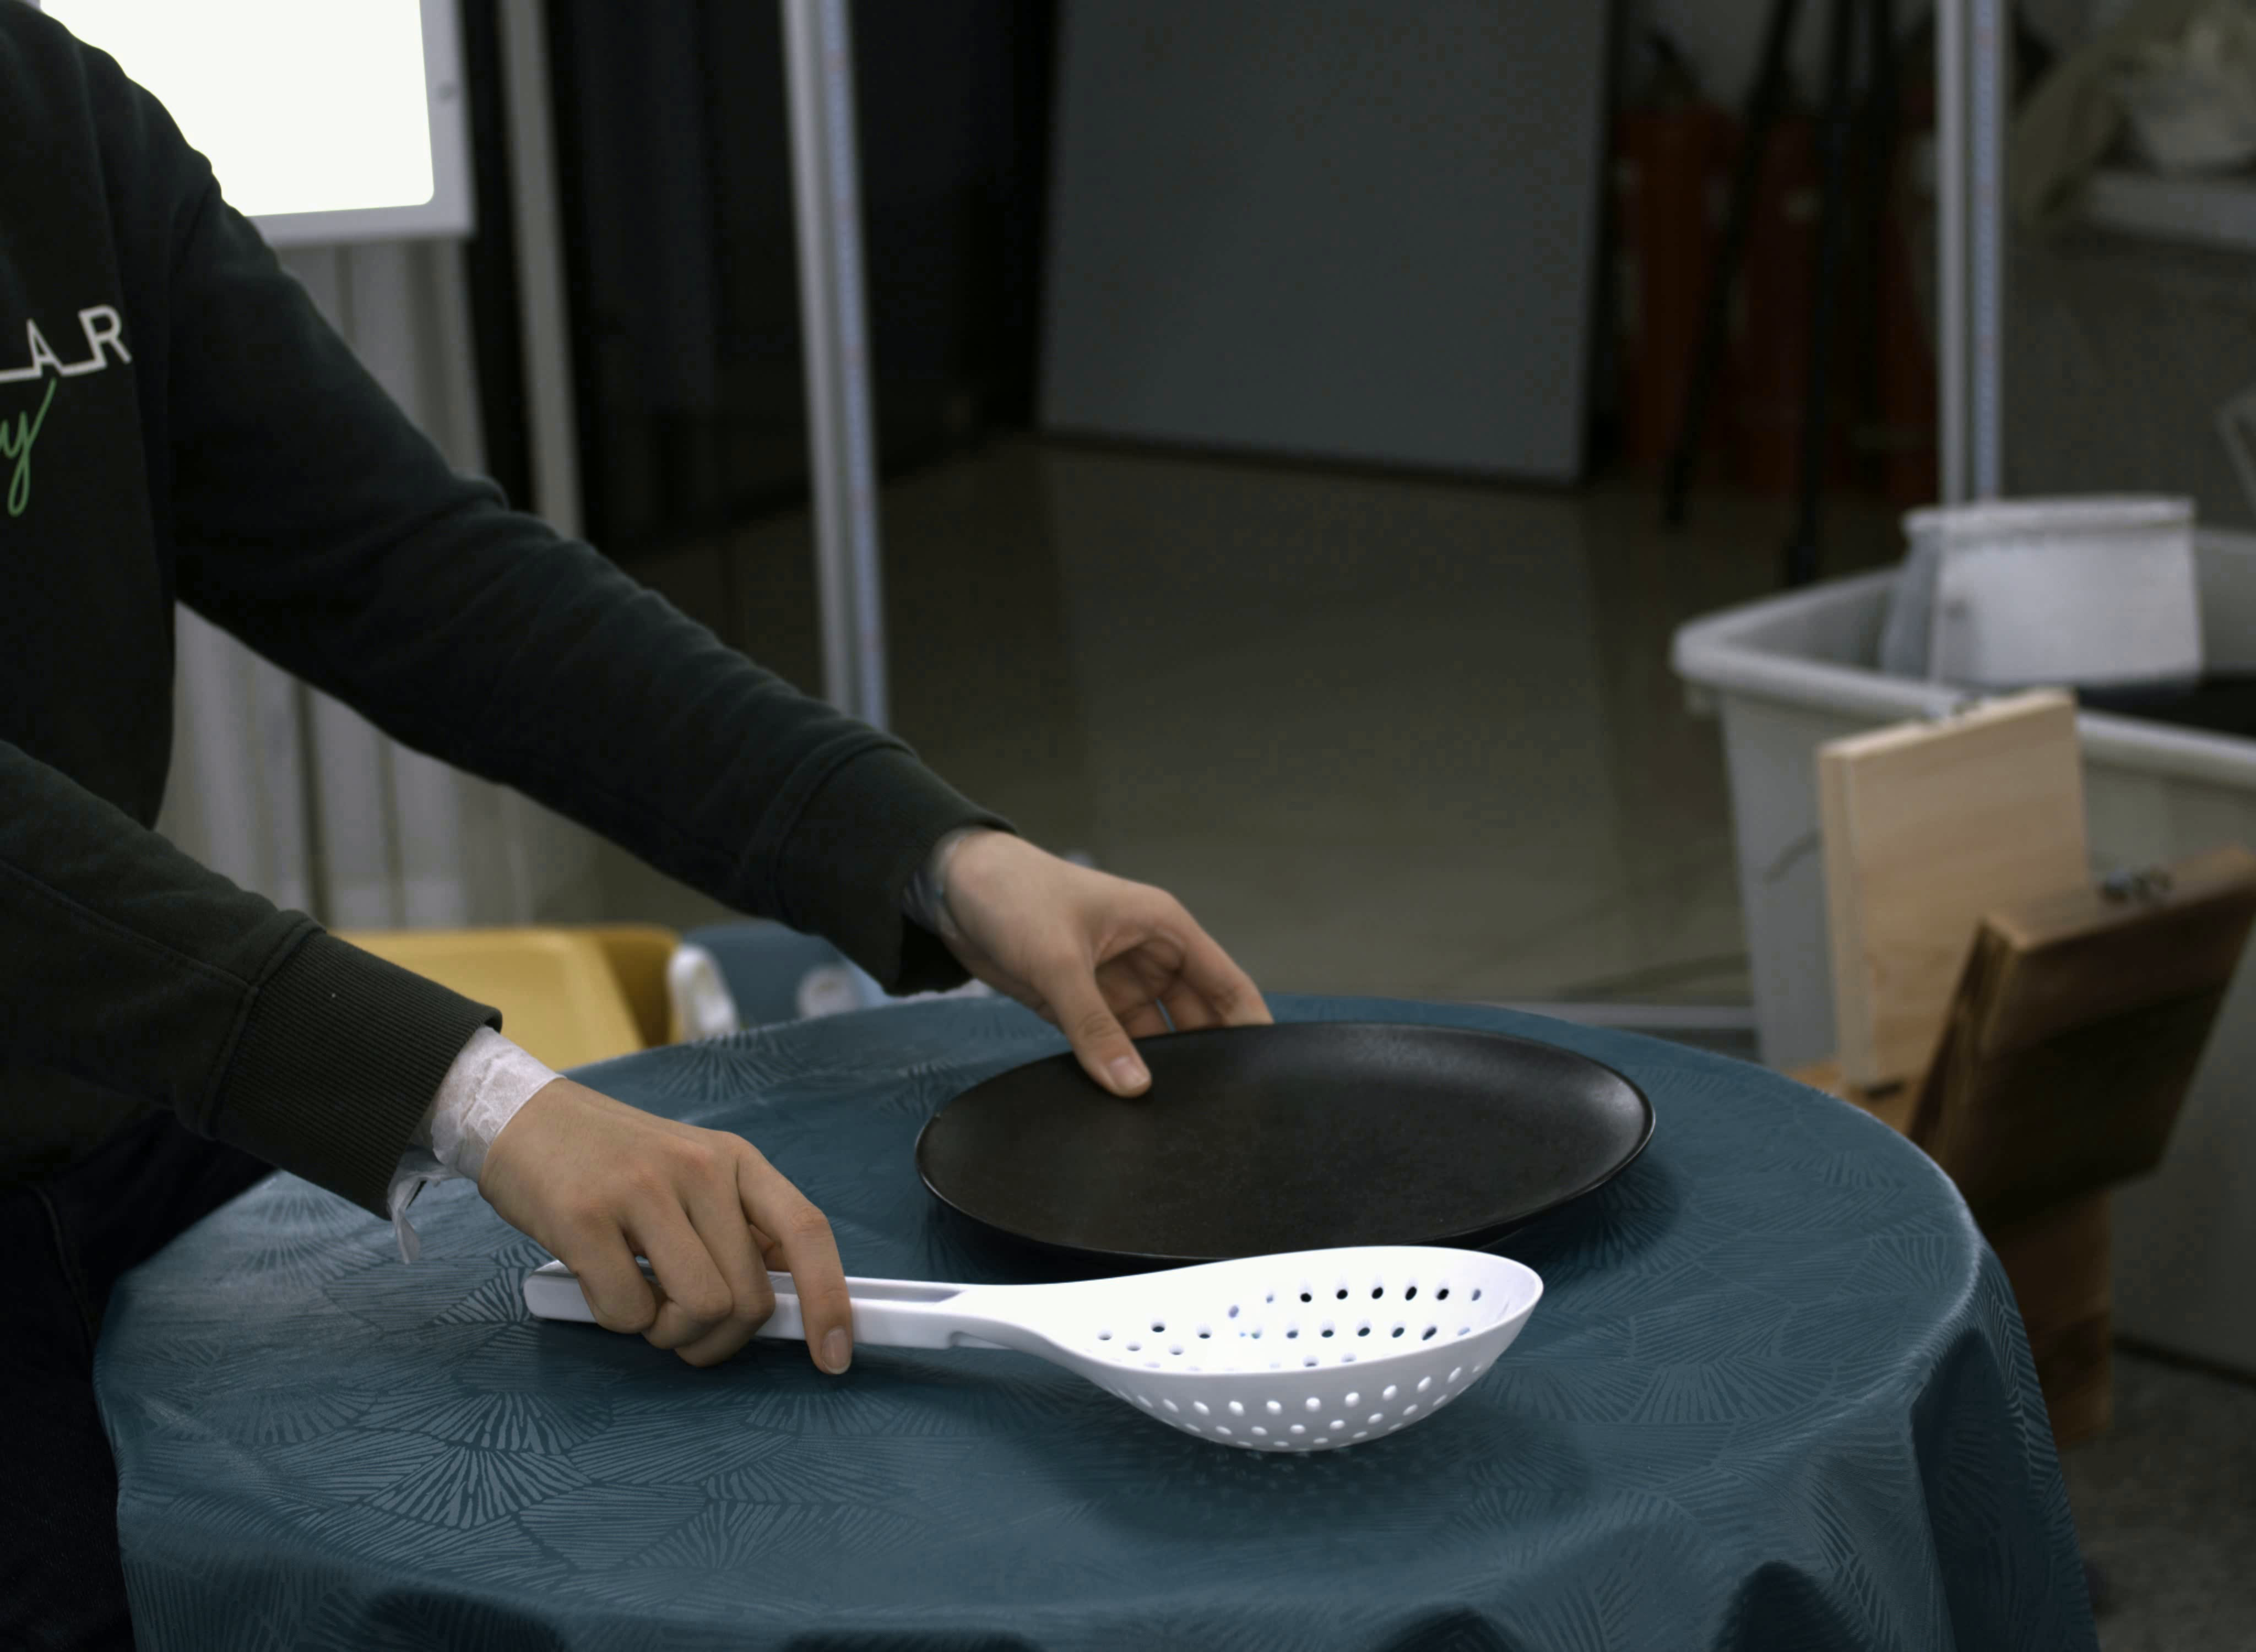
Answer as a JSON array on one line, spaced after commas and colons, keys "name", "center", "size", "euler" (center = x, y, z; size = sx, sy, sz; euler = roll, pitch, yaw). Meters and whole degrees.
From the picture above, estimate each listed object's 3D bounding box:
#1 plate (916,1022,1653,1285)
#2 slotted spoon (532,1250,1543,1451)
[{"name": "plate", "center": [0.051, 0.109, 1.753], "size": [0.241, 0.024, 0.245], "euler": [-4, 15, 0]}, {"name": "slotted spoon", "center": [-0.037, 0.145, 1.591], "size": [0.352, 0.046, 0.133], "euler": [4, 12, 34]}]
